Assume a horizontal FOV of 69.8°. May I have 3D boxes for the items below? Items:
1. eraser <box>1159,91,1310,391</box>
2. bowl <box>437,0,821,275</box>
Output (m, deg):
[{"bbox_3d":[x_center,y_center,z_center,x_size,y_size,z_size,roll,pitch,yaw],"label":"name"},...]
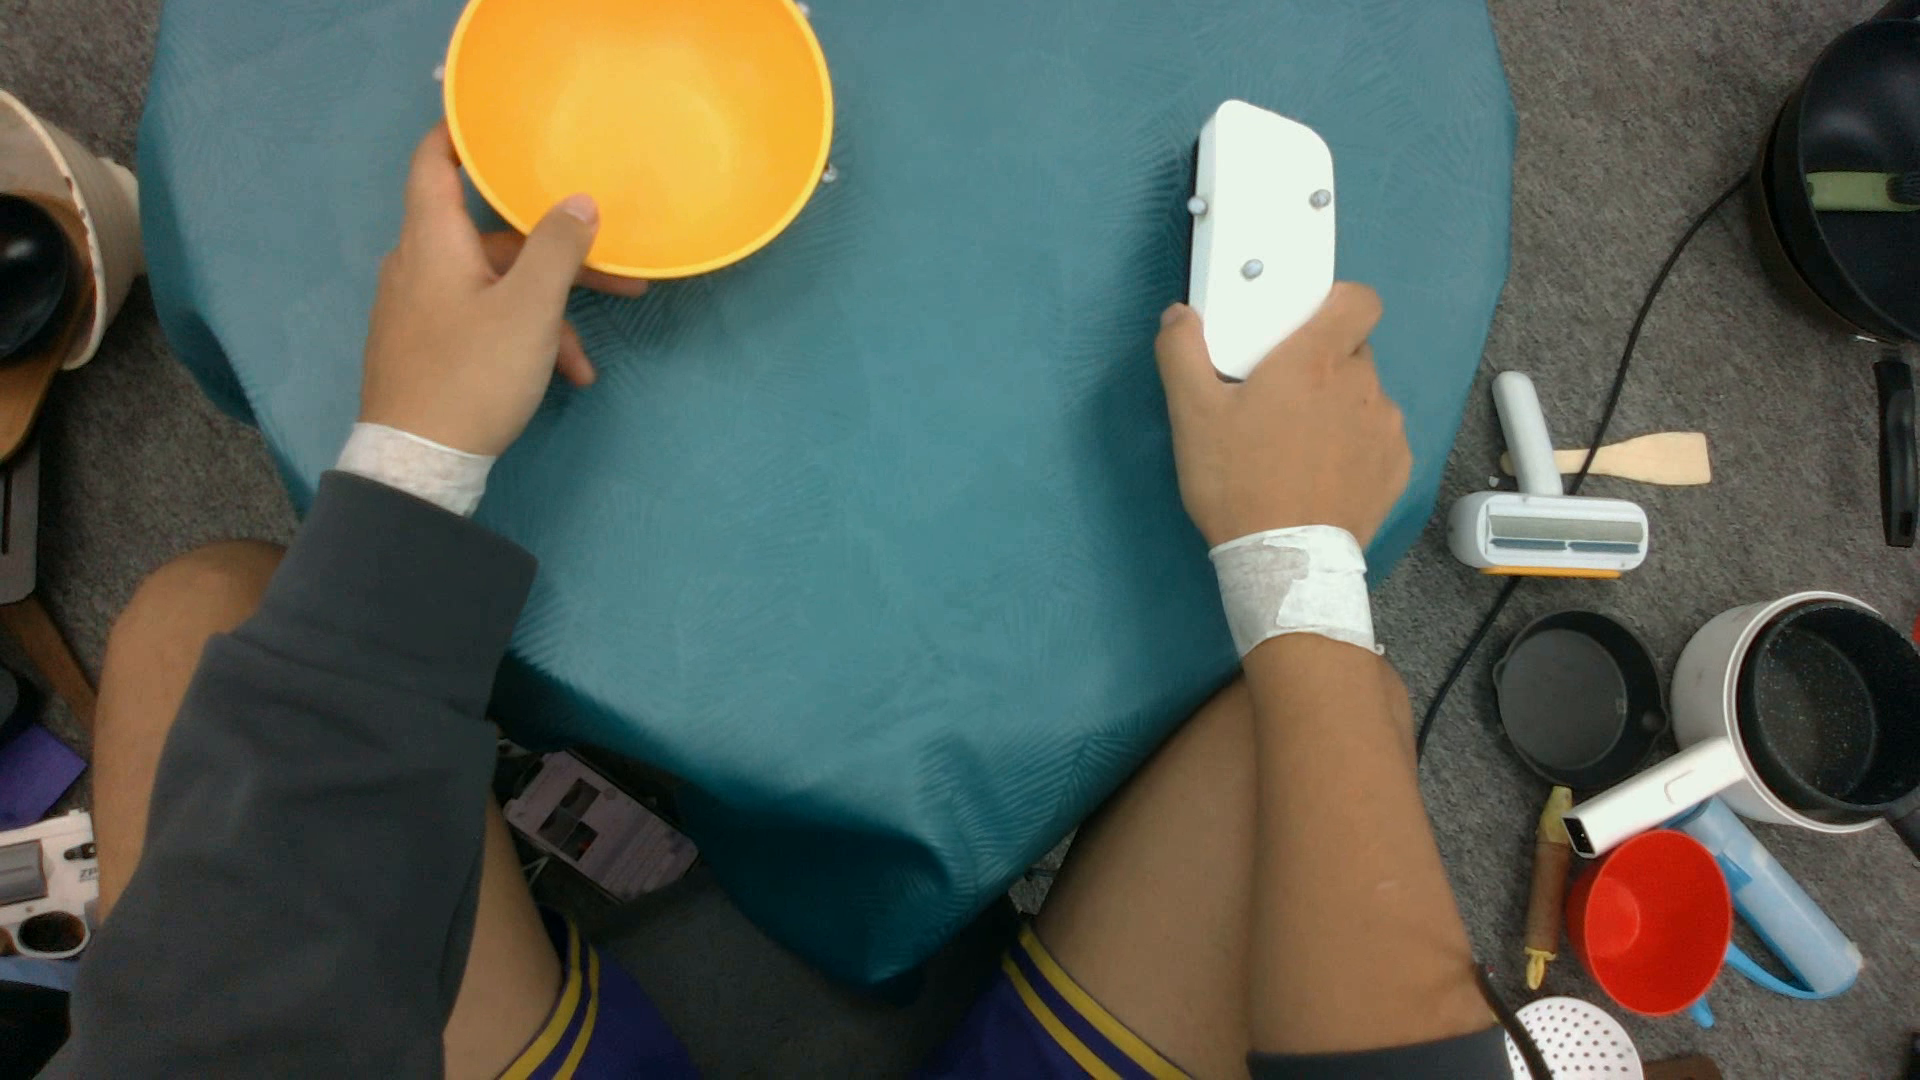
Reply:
[{"bbox_3d":[0.117,-0.130,0.595,0.063,0.034,0.131,11,71,-22],"label":"eraser"},{"bbox_3d":[-0.131,-0.170,0.560,0.145,0.060,0.145,1,83,-10],"label":"bowl"}]
